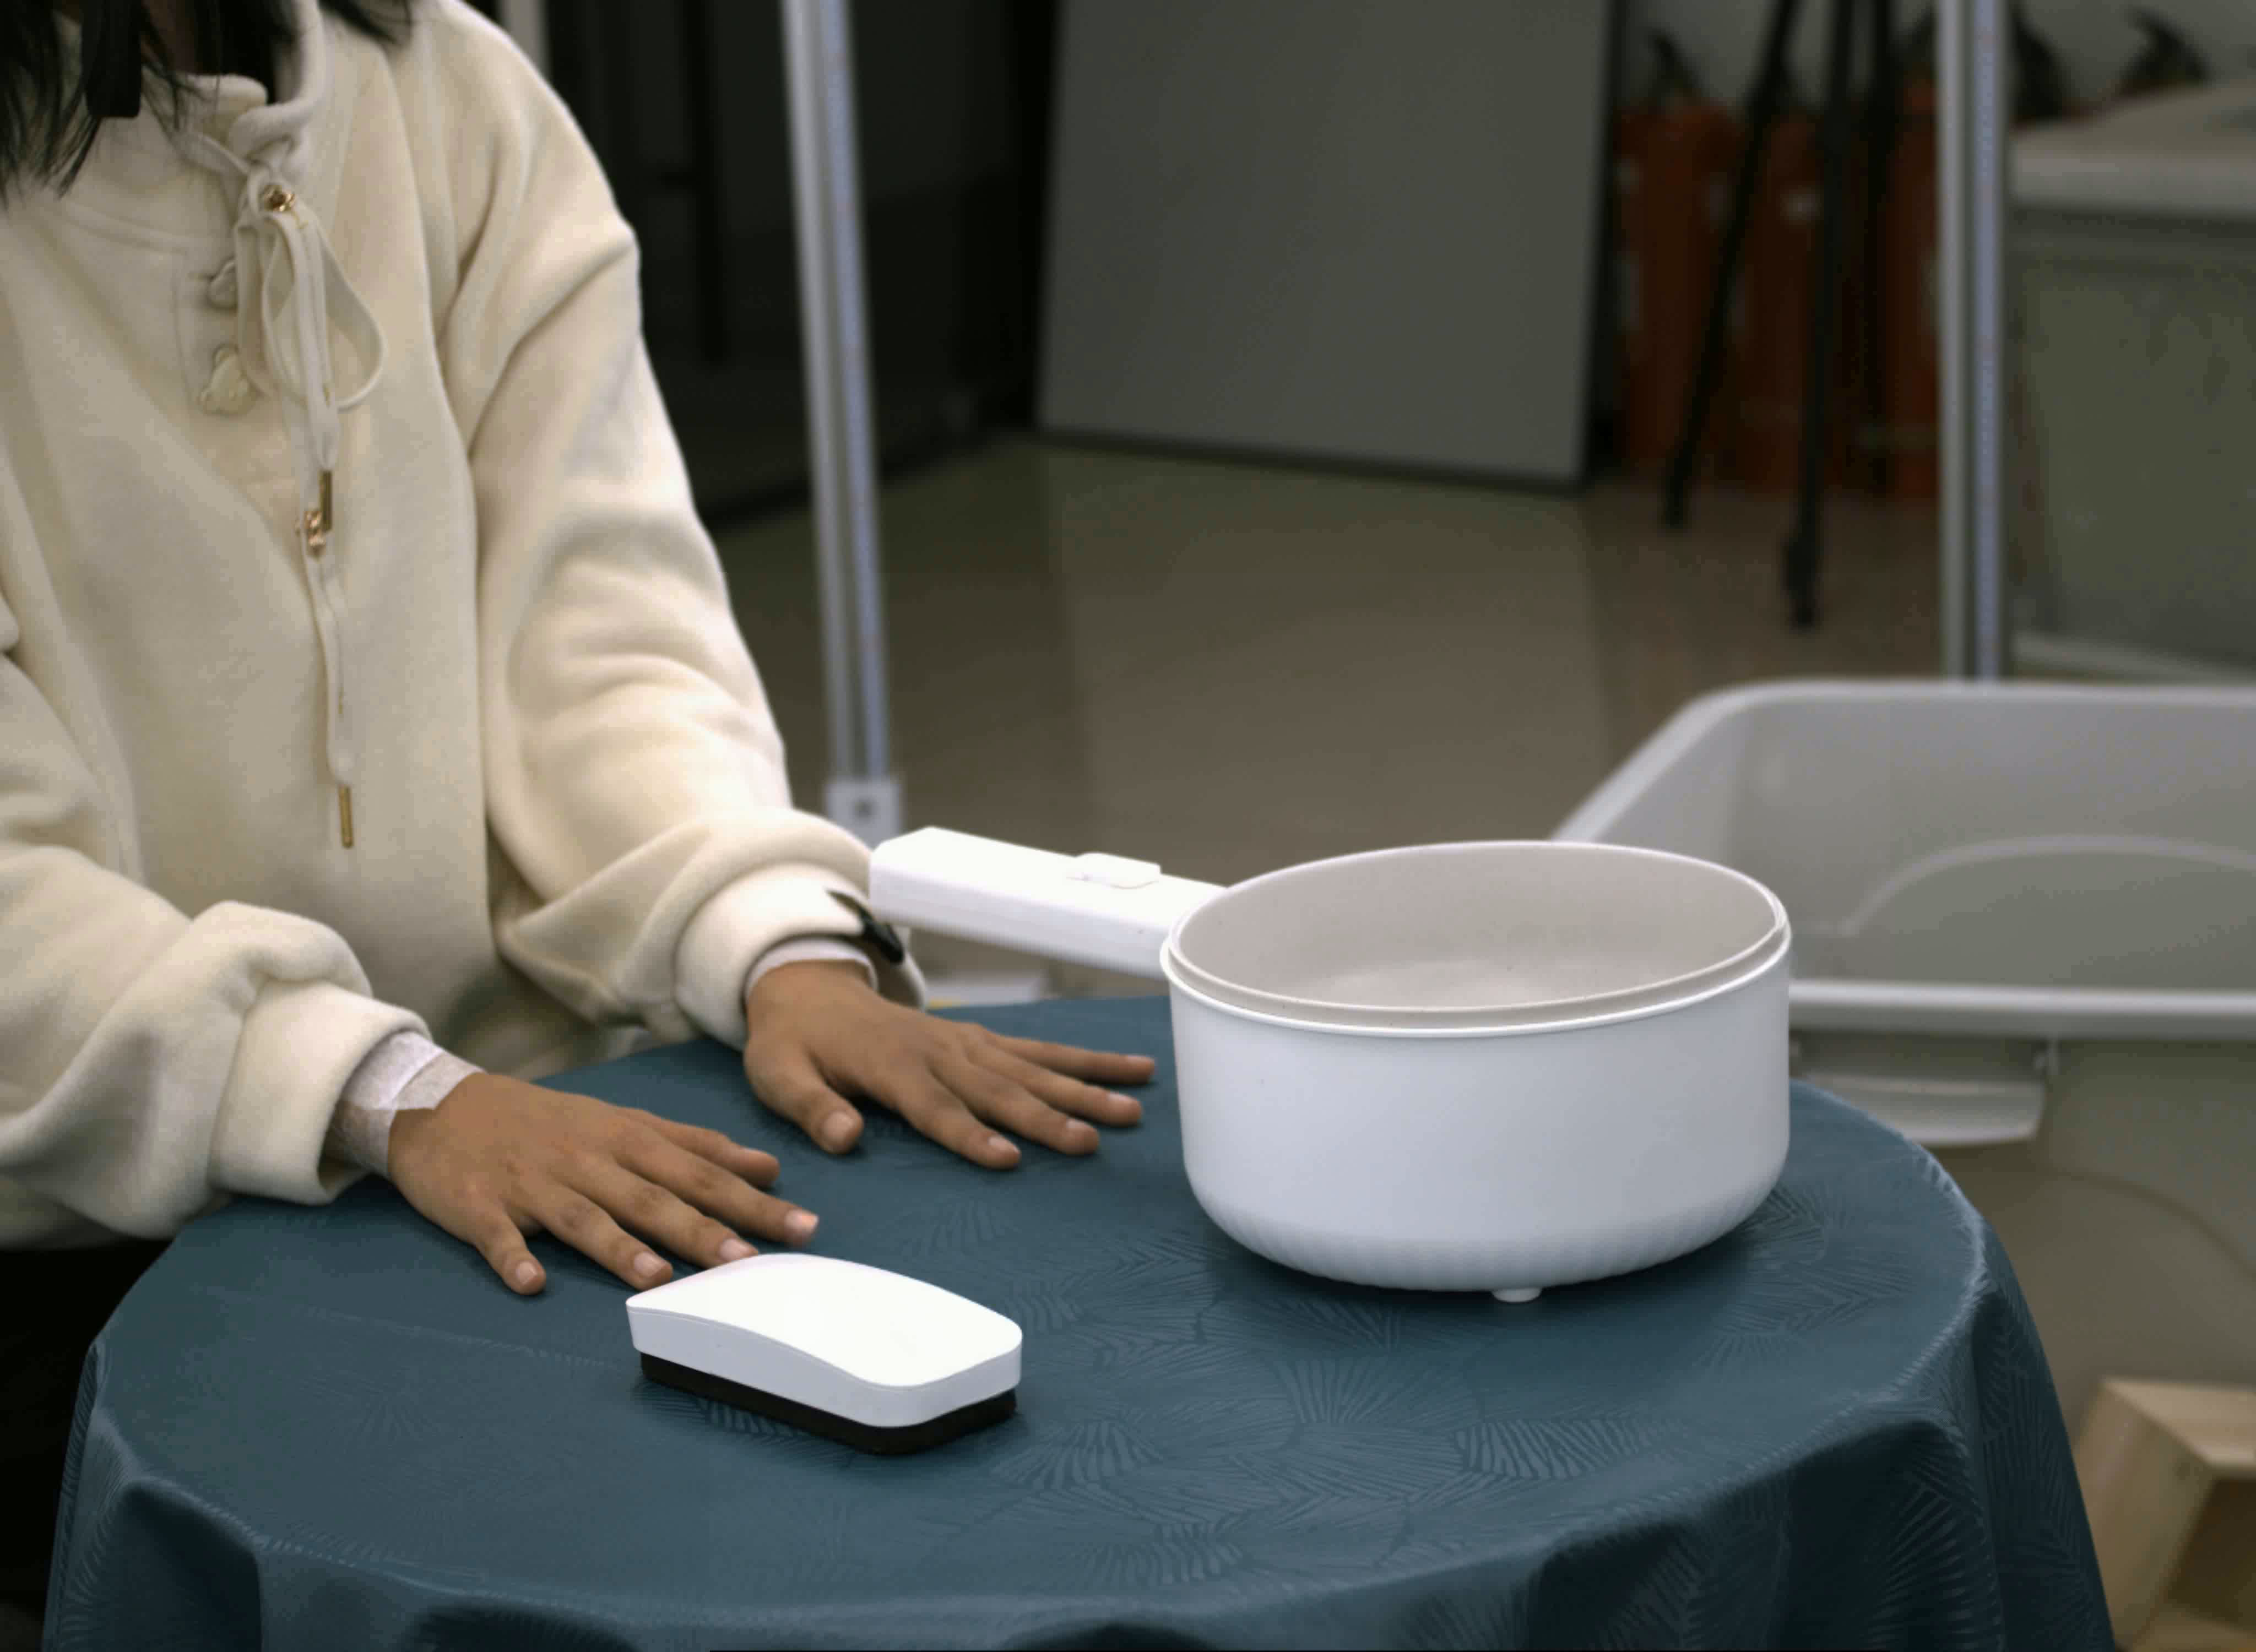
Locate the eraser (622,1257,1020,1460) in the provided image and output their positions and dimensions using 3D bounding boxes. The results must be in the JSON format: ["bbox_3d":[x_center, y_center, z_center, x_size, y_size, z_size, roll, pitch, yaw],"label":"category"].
[{"bbox_3d":[-0.090,0.154,1.599,0.062,0.035,0.132,-12,16,-41],"label":"eraser"}]

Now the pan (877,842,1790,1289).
[{"bbox_3d":[0.055,0.070,1.753,0.358,0.103,0.197,5,15,43],"label":"pan"}]
